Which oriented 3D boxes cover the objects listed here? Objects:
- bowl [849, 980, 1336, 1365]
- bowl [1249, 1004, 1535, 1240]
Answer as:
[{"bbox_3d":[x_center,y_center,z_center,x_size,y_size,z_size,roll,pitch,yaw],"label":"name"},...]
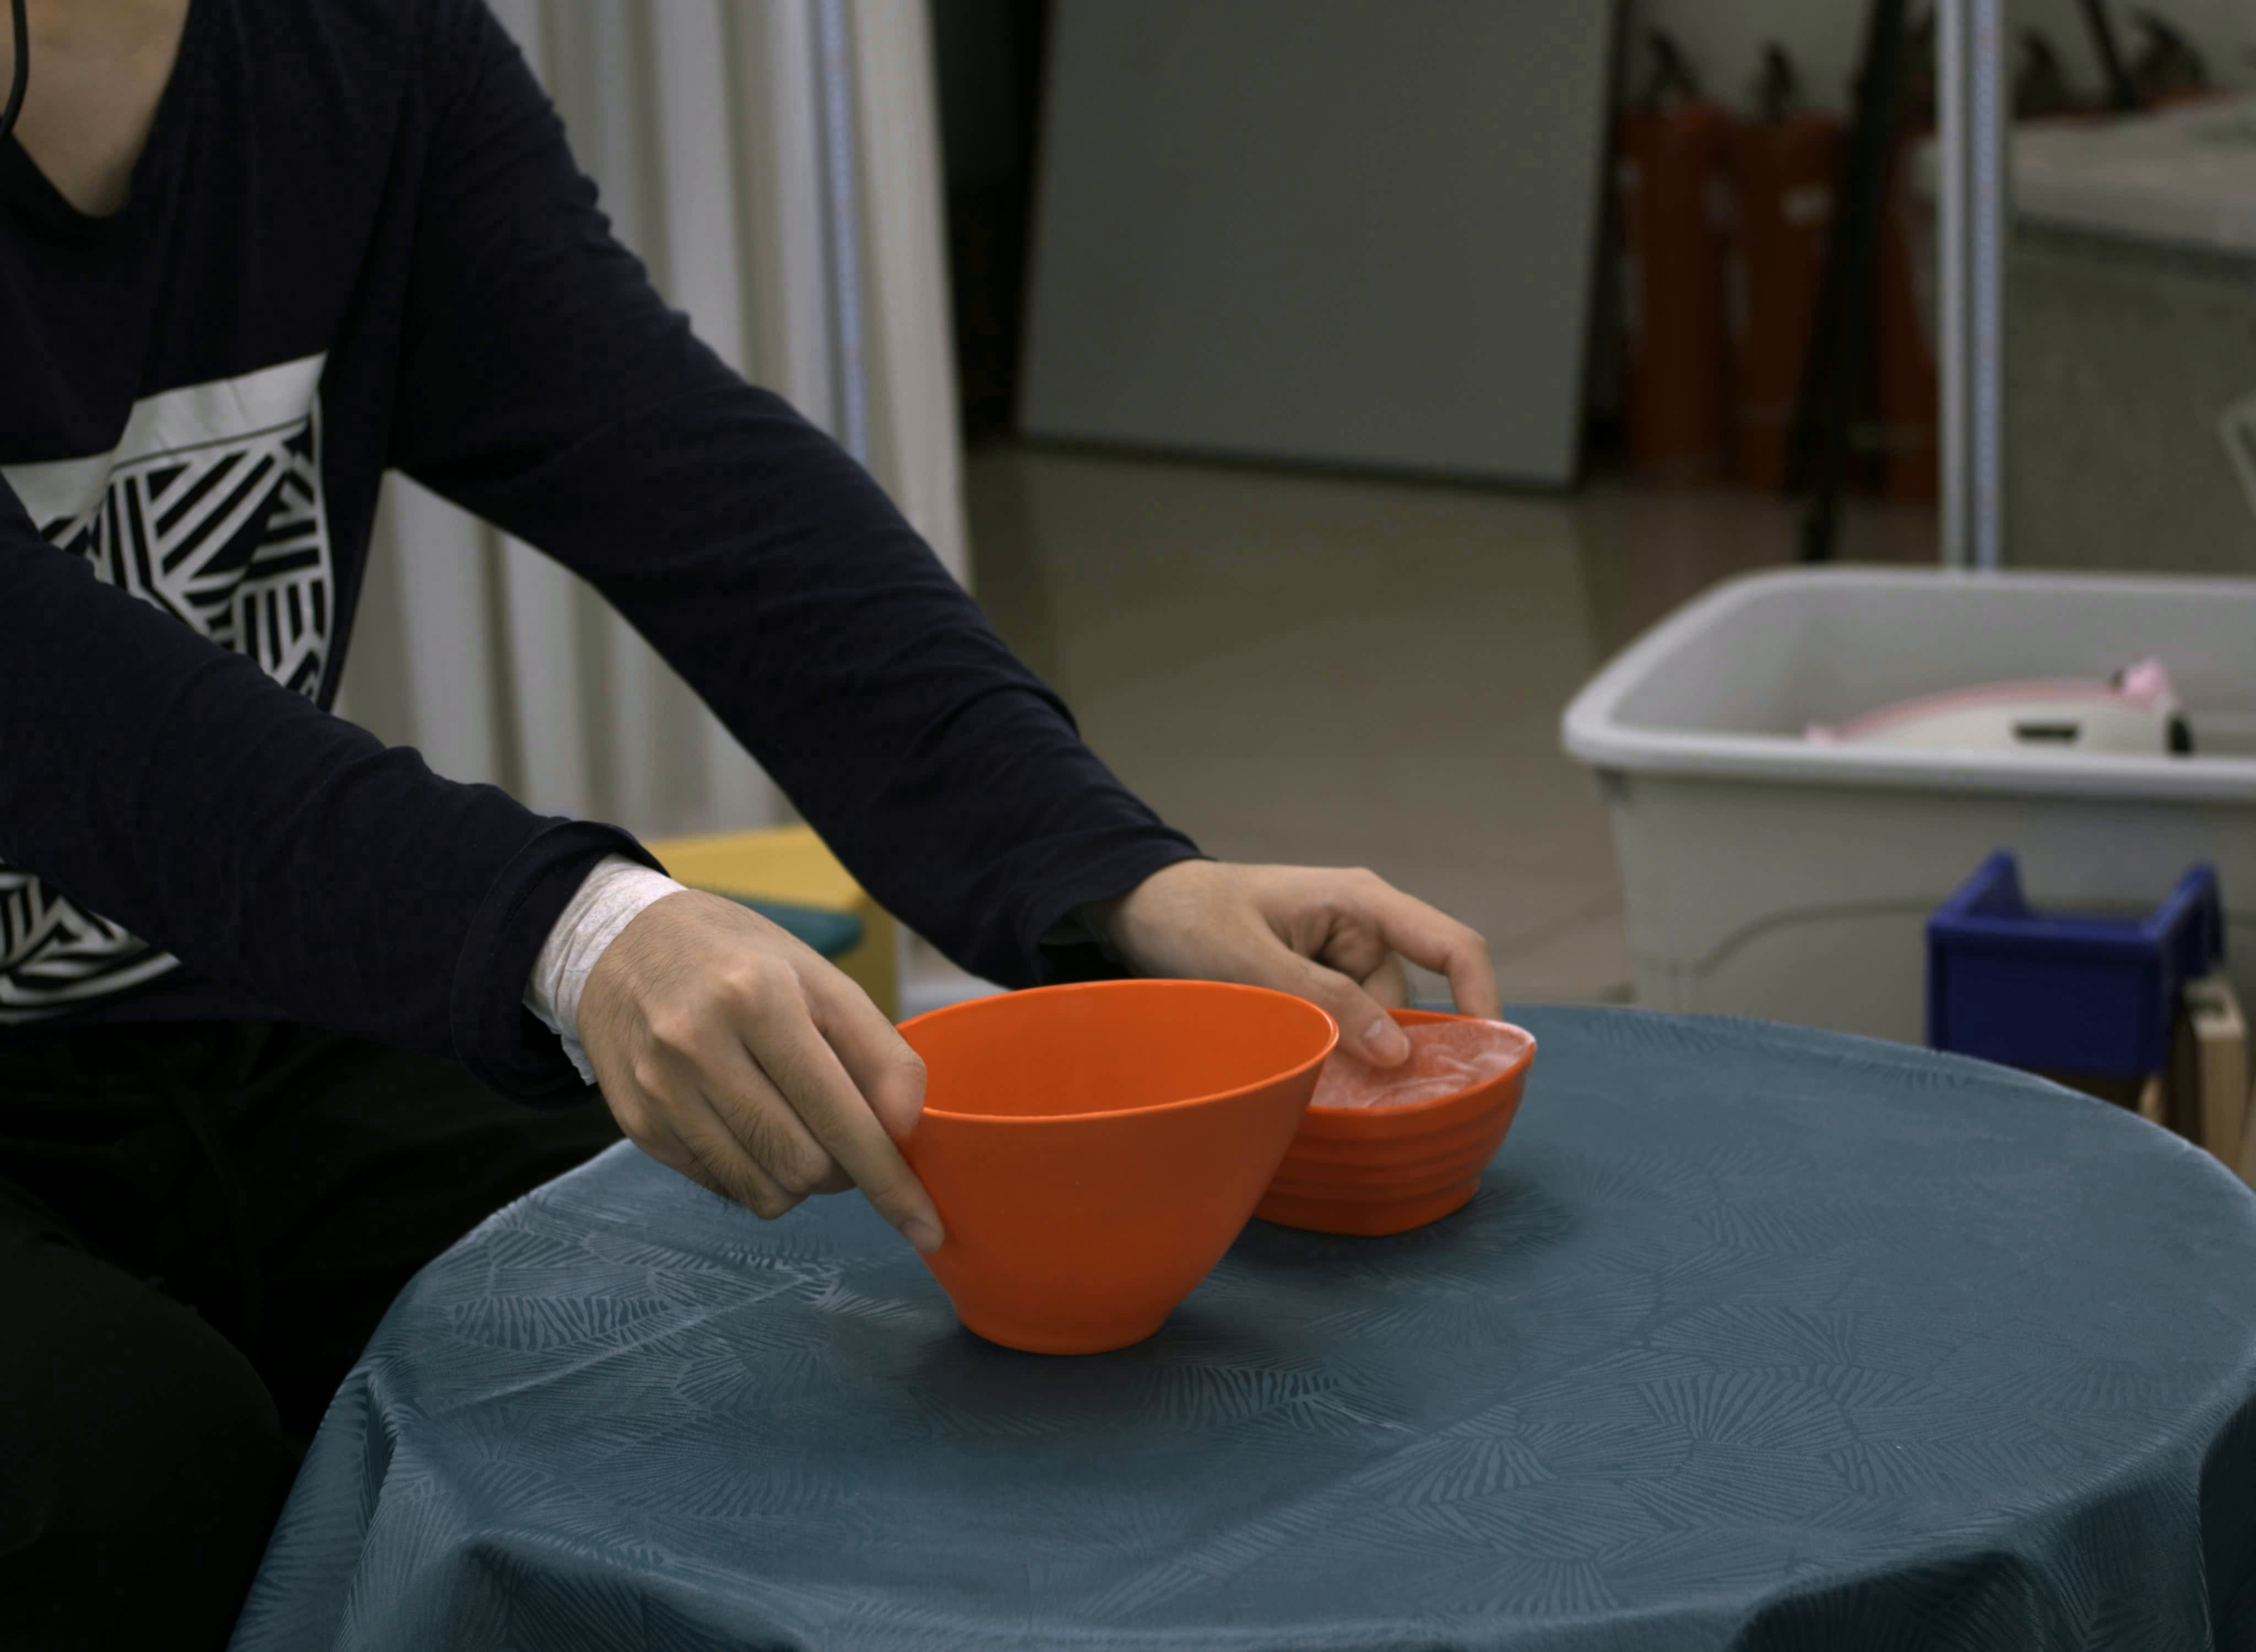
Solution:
[{"bbox_3d":[-0.012,0.105,1.623,0.146,0.106,0.148,0,20,-1],"label":"bowl"},{"bbox_3d":[0.075,0.098,1.741,0.117,0.052,0.119,-5,15,0],"label":"bowl"}]
